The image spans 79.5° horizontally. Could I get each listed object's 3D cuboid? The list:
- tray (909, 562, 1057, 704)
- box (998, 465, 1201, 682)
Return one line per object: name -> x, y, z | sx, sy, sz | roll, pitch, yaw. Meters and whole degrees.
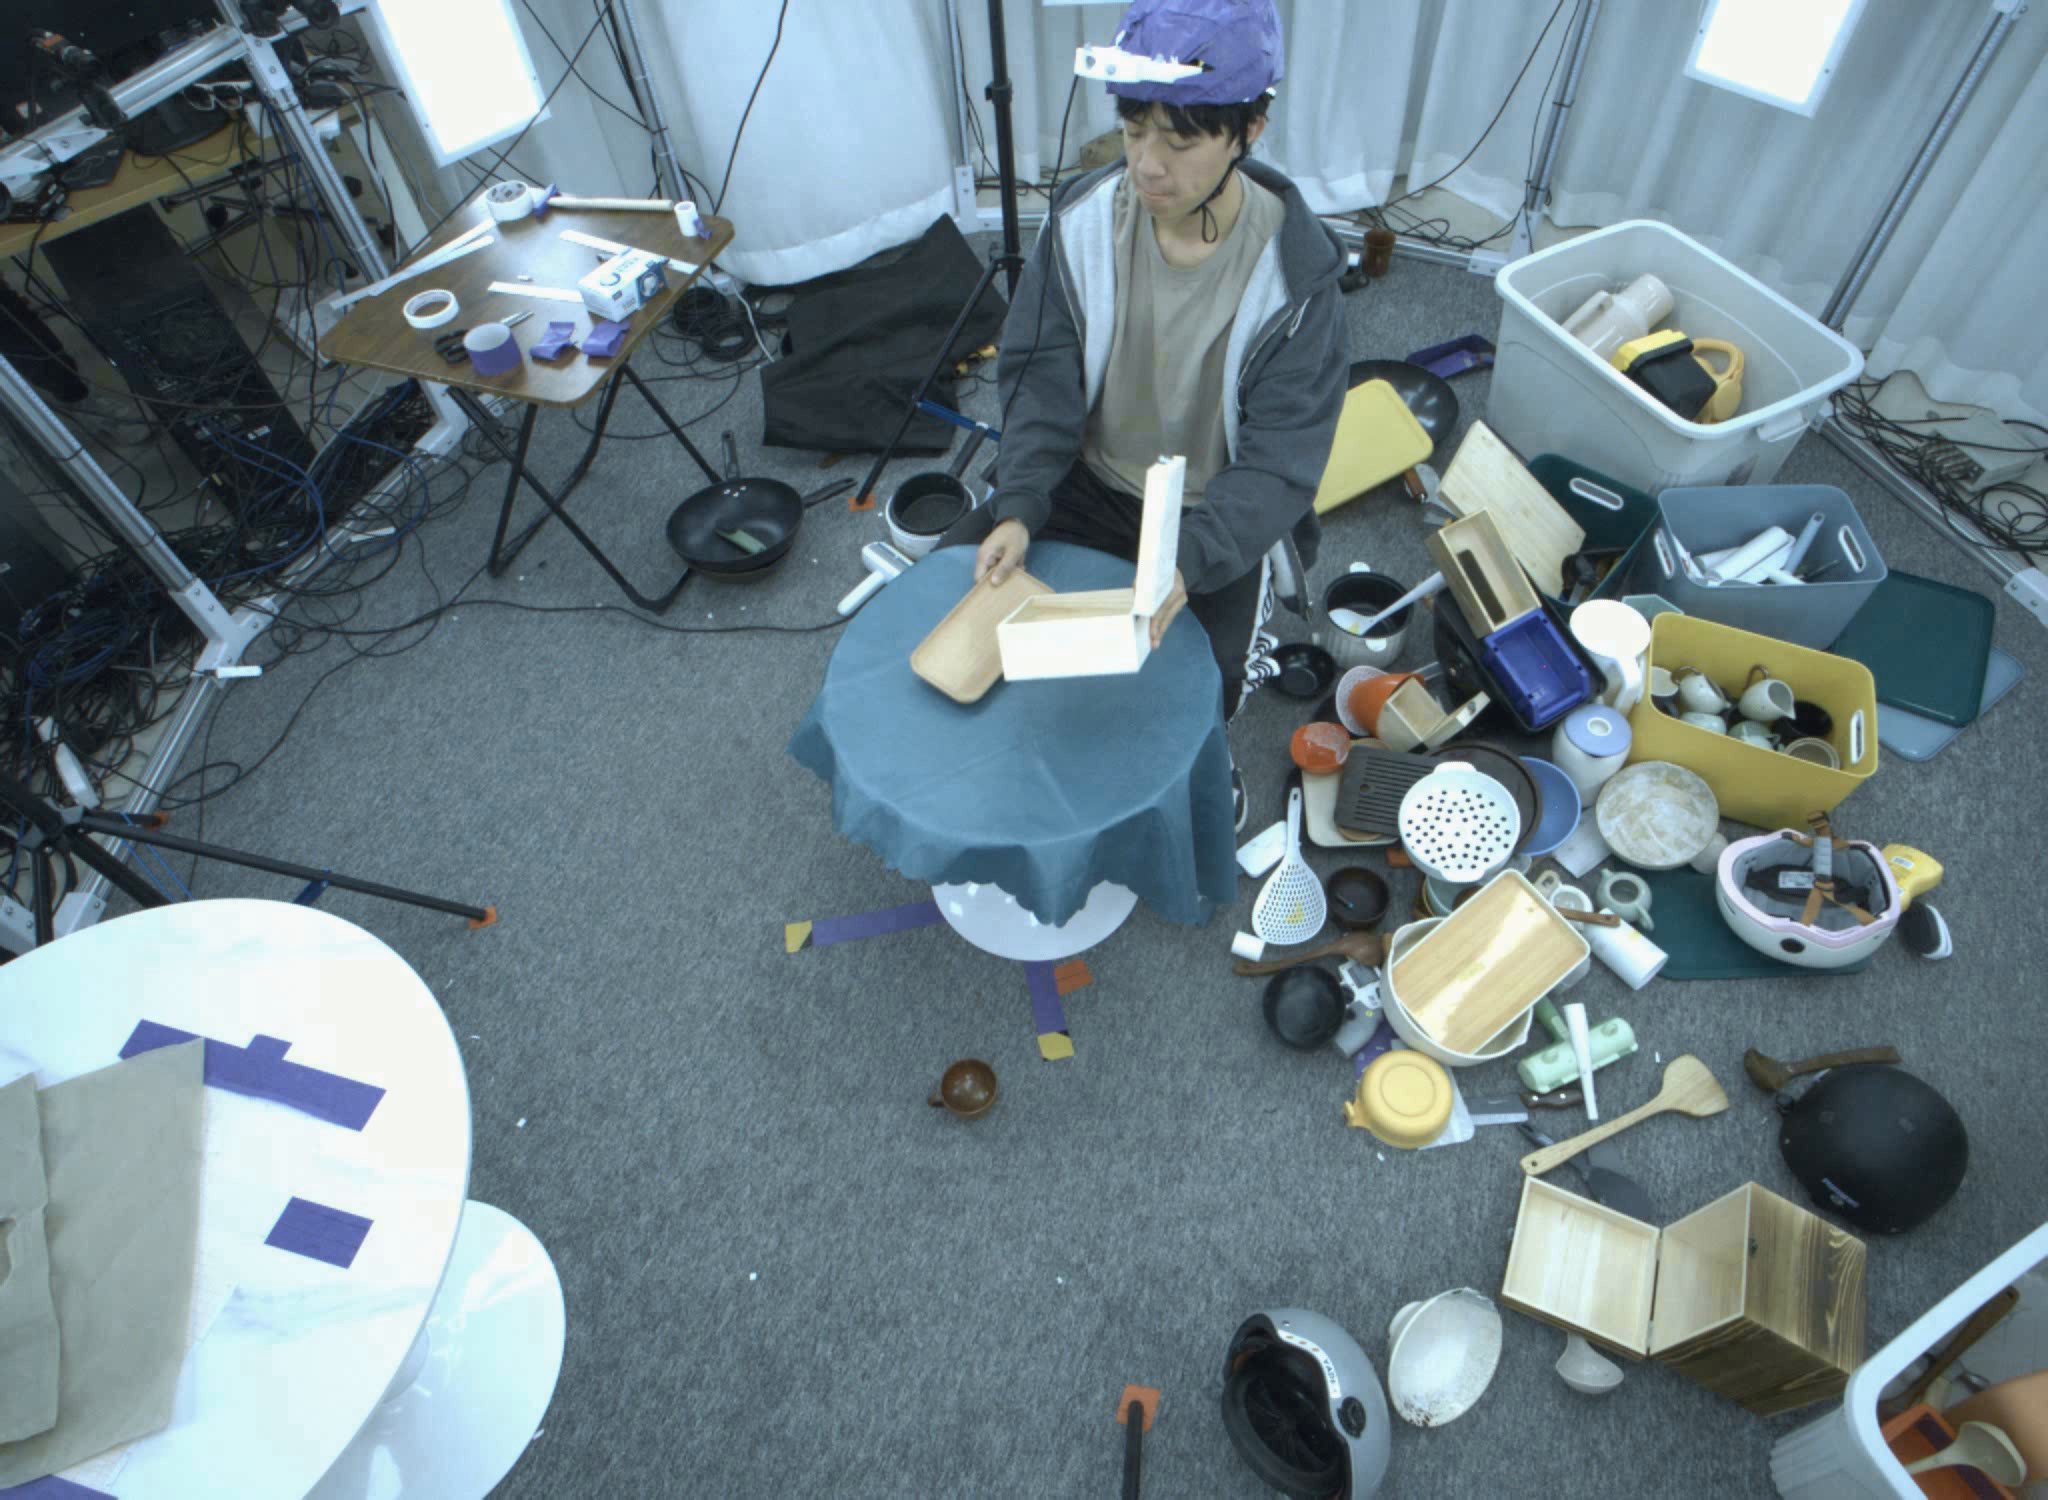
tray -> -0.060, -0.181, 1.879 | 0.129, 0.023, 0.252 | 36, 65, 9
box -> 0.102, -0.239, 1.638 | 0.263, 0.255, 0.182 | -1, 19, 13
